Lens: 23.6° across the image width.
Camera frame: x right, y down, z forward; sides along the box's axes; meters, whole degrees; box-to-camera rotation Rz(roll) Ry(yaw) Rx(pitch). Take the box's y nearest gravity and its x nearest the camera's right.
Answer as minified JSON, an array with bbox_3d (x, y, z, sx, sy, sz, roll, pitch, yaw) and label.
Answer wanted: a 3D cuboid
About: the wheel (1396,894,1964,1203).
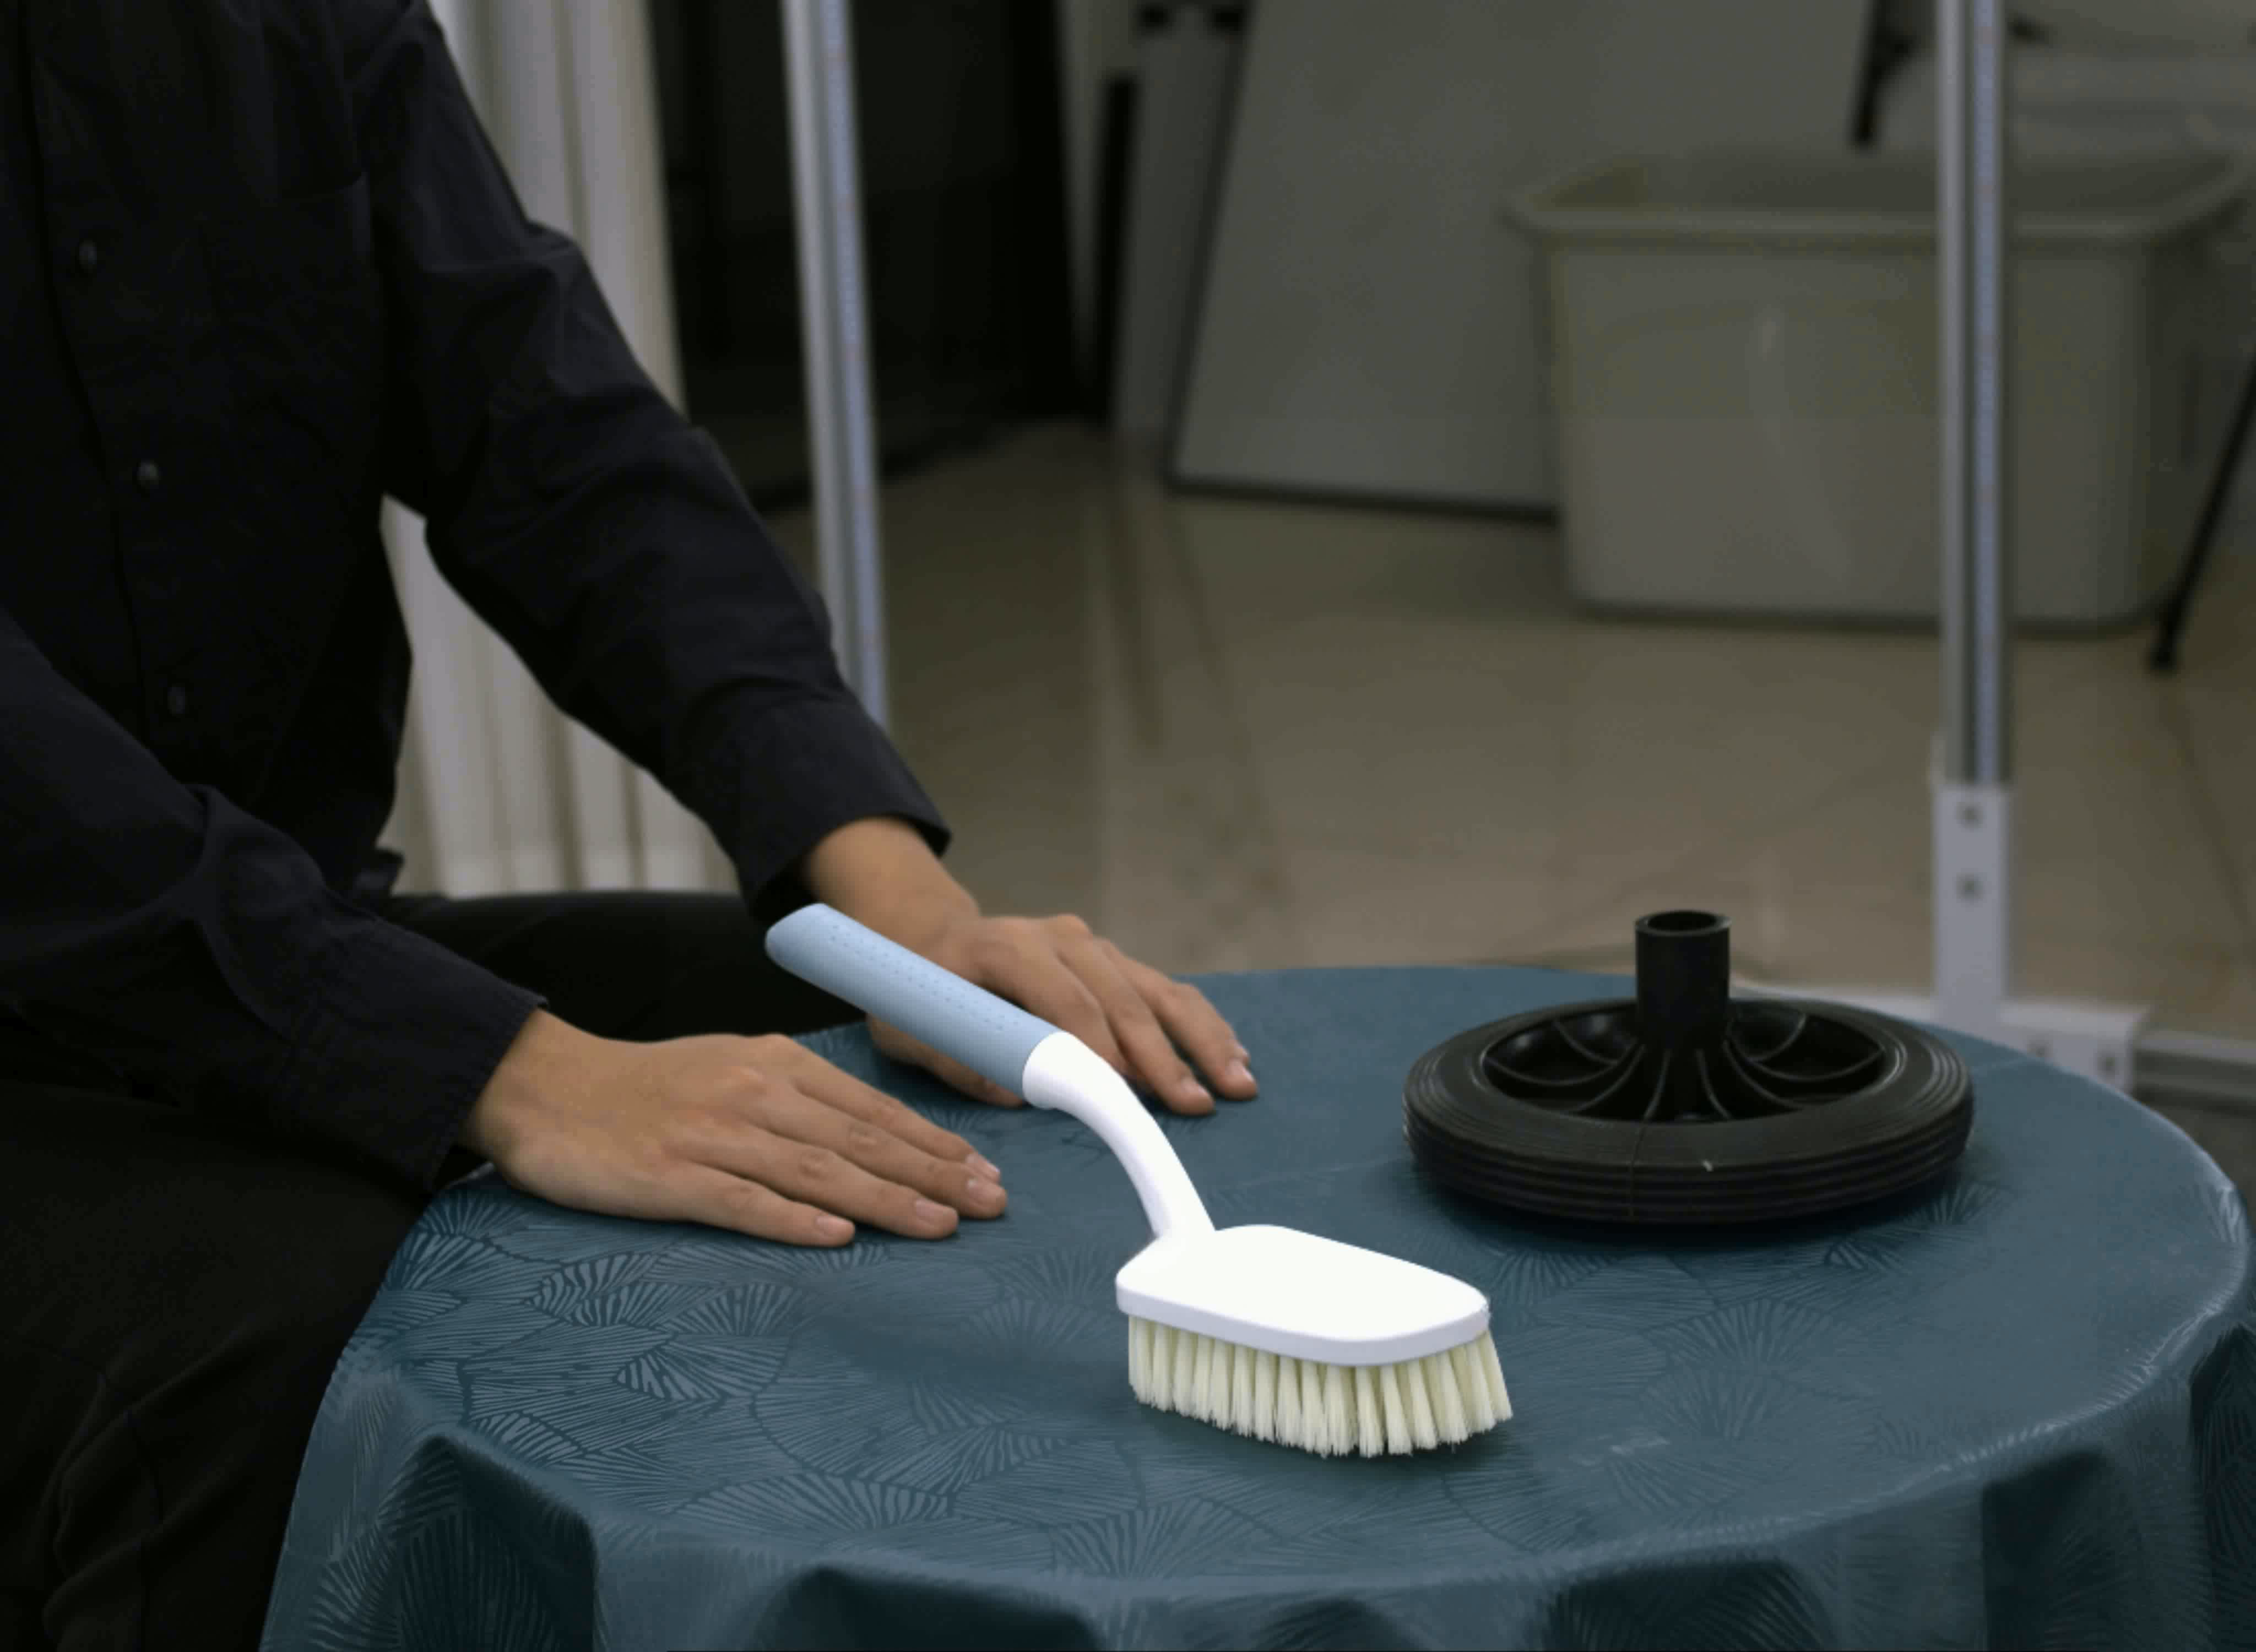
[{"bbox_3d":[0.180,0.065,1.773,0.186,0.080,0.189,-9,15,-13],"label":"wheel"}]

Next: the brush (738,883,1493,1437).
[{"bbox_3d":[-0.010,0.113,1.629,0.329,0.085,0.082,26,-7,42],"label":"brush"}]
